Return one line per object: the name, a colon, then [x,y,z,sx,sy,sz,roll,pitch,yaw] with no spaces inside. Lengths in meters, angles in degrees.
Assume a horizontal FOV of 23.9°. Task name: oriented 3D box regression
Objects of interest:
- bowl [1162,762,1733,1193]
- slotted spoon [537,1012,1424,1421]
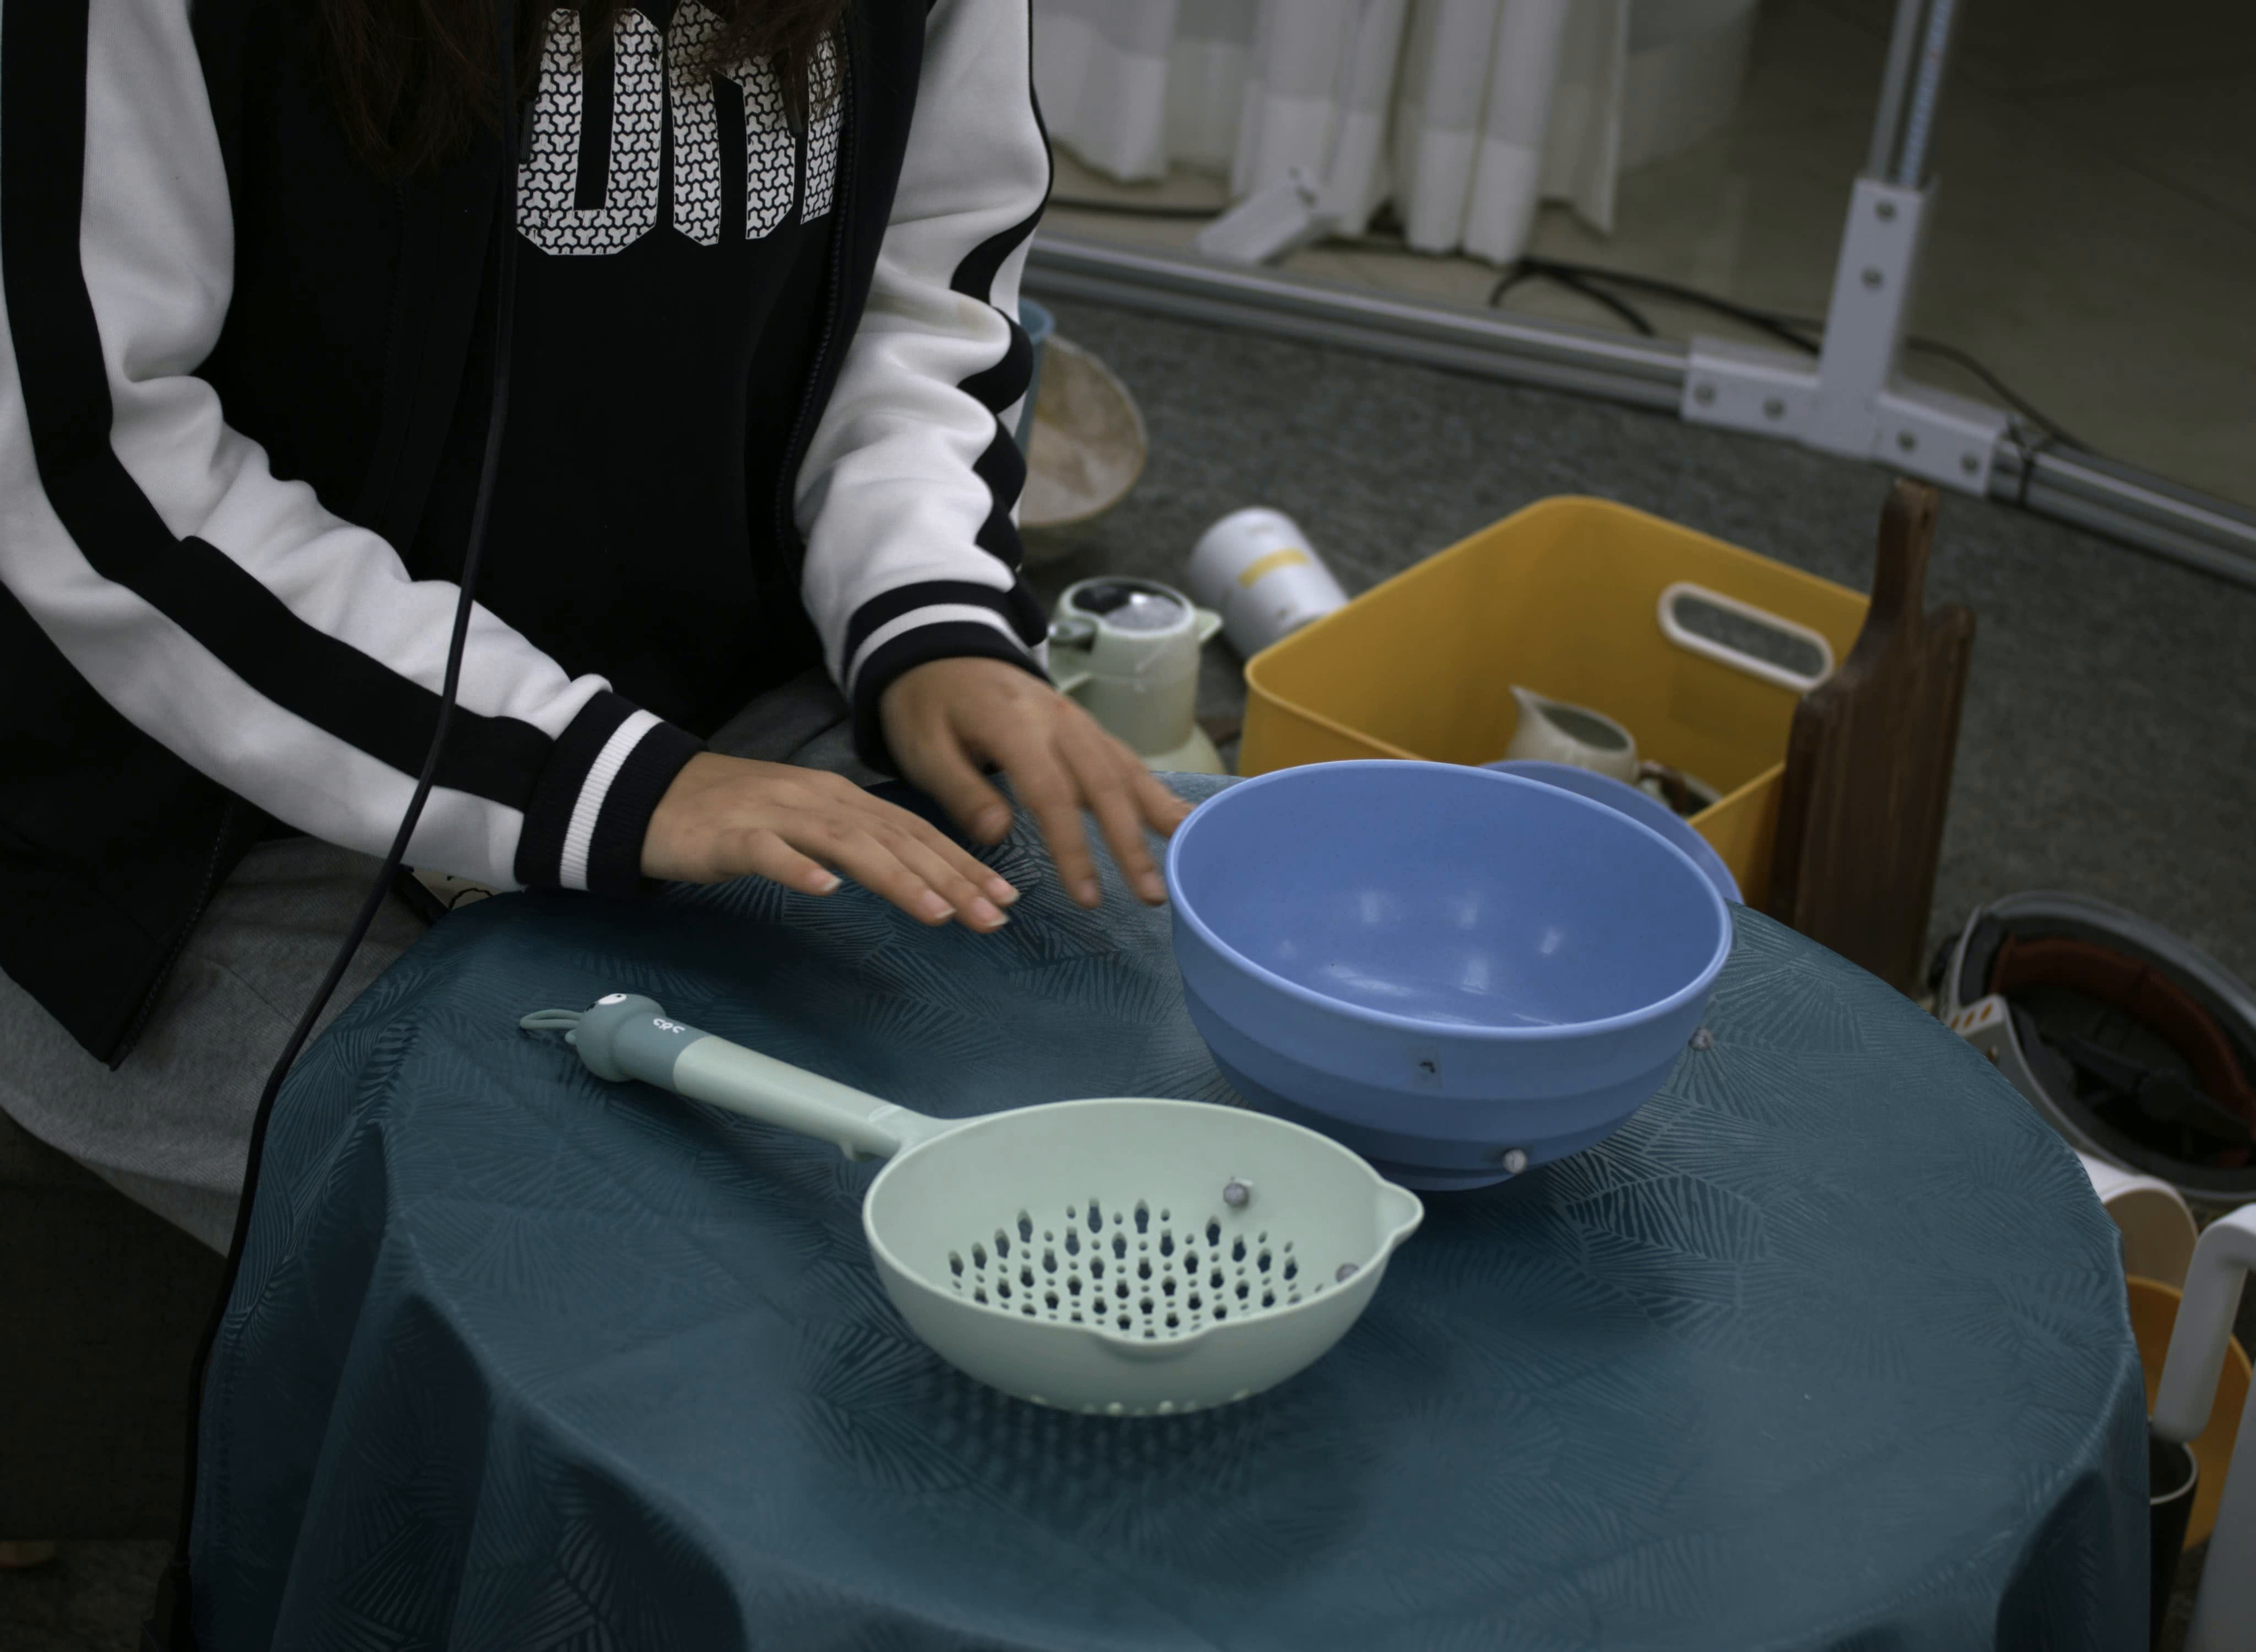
bowl: [0.105,0.063,1.840,0.196,0.095,0.197,5,27,-3]
slotted spoon: [-0.071,0.111,1.747,0.361,0.075,0.168,26,32,36]
